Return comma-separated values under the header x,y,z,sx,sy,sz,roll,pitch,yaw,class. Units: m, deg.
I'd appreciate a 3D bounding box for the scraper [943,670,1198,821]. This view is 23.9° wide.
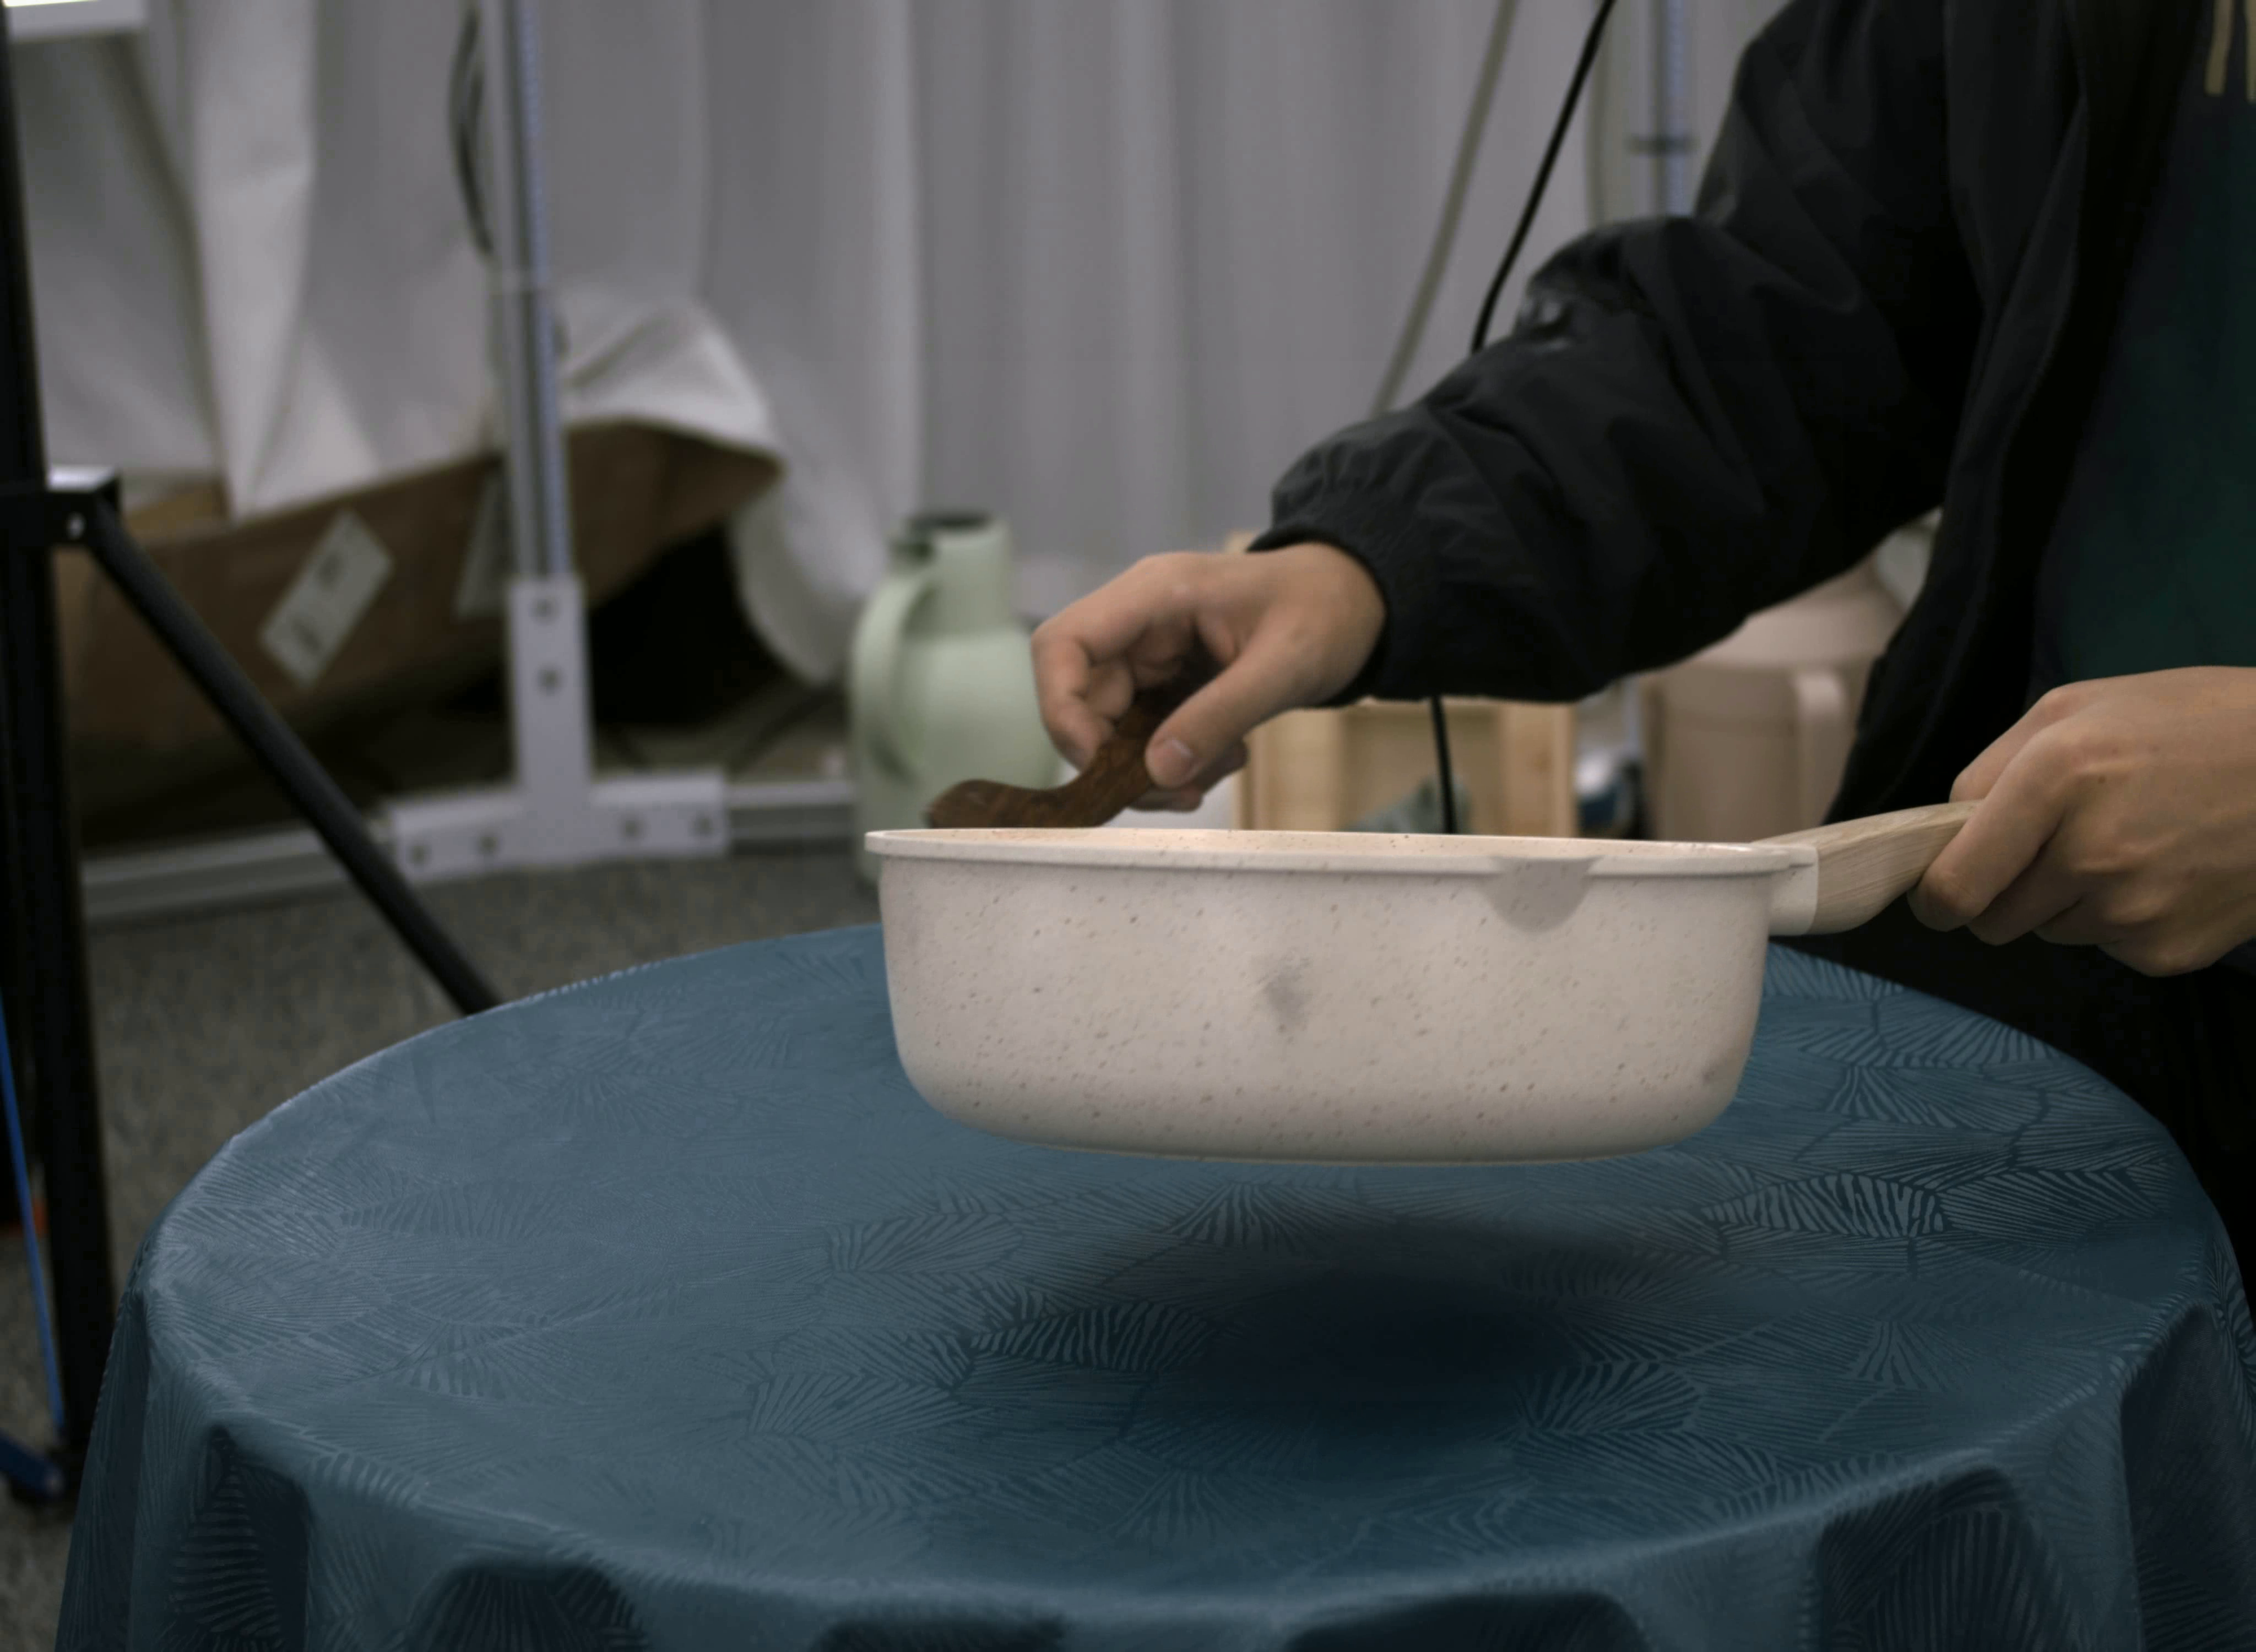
x,y,z,sx,sy,sz,roll,pitch,yaw,class
-0.013,-0.007,1.772,0.011,0.075,0.209,-28,10,26,scraper

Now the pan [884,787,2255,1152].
x,y,z,sx,sy,sz,roll,pitch,yaw,class
0.141,0.036,1.470,0.425,0.102,0.268,1,-1,-24,pan
